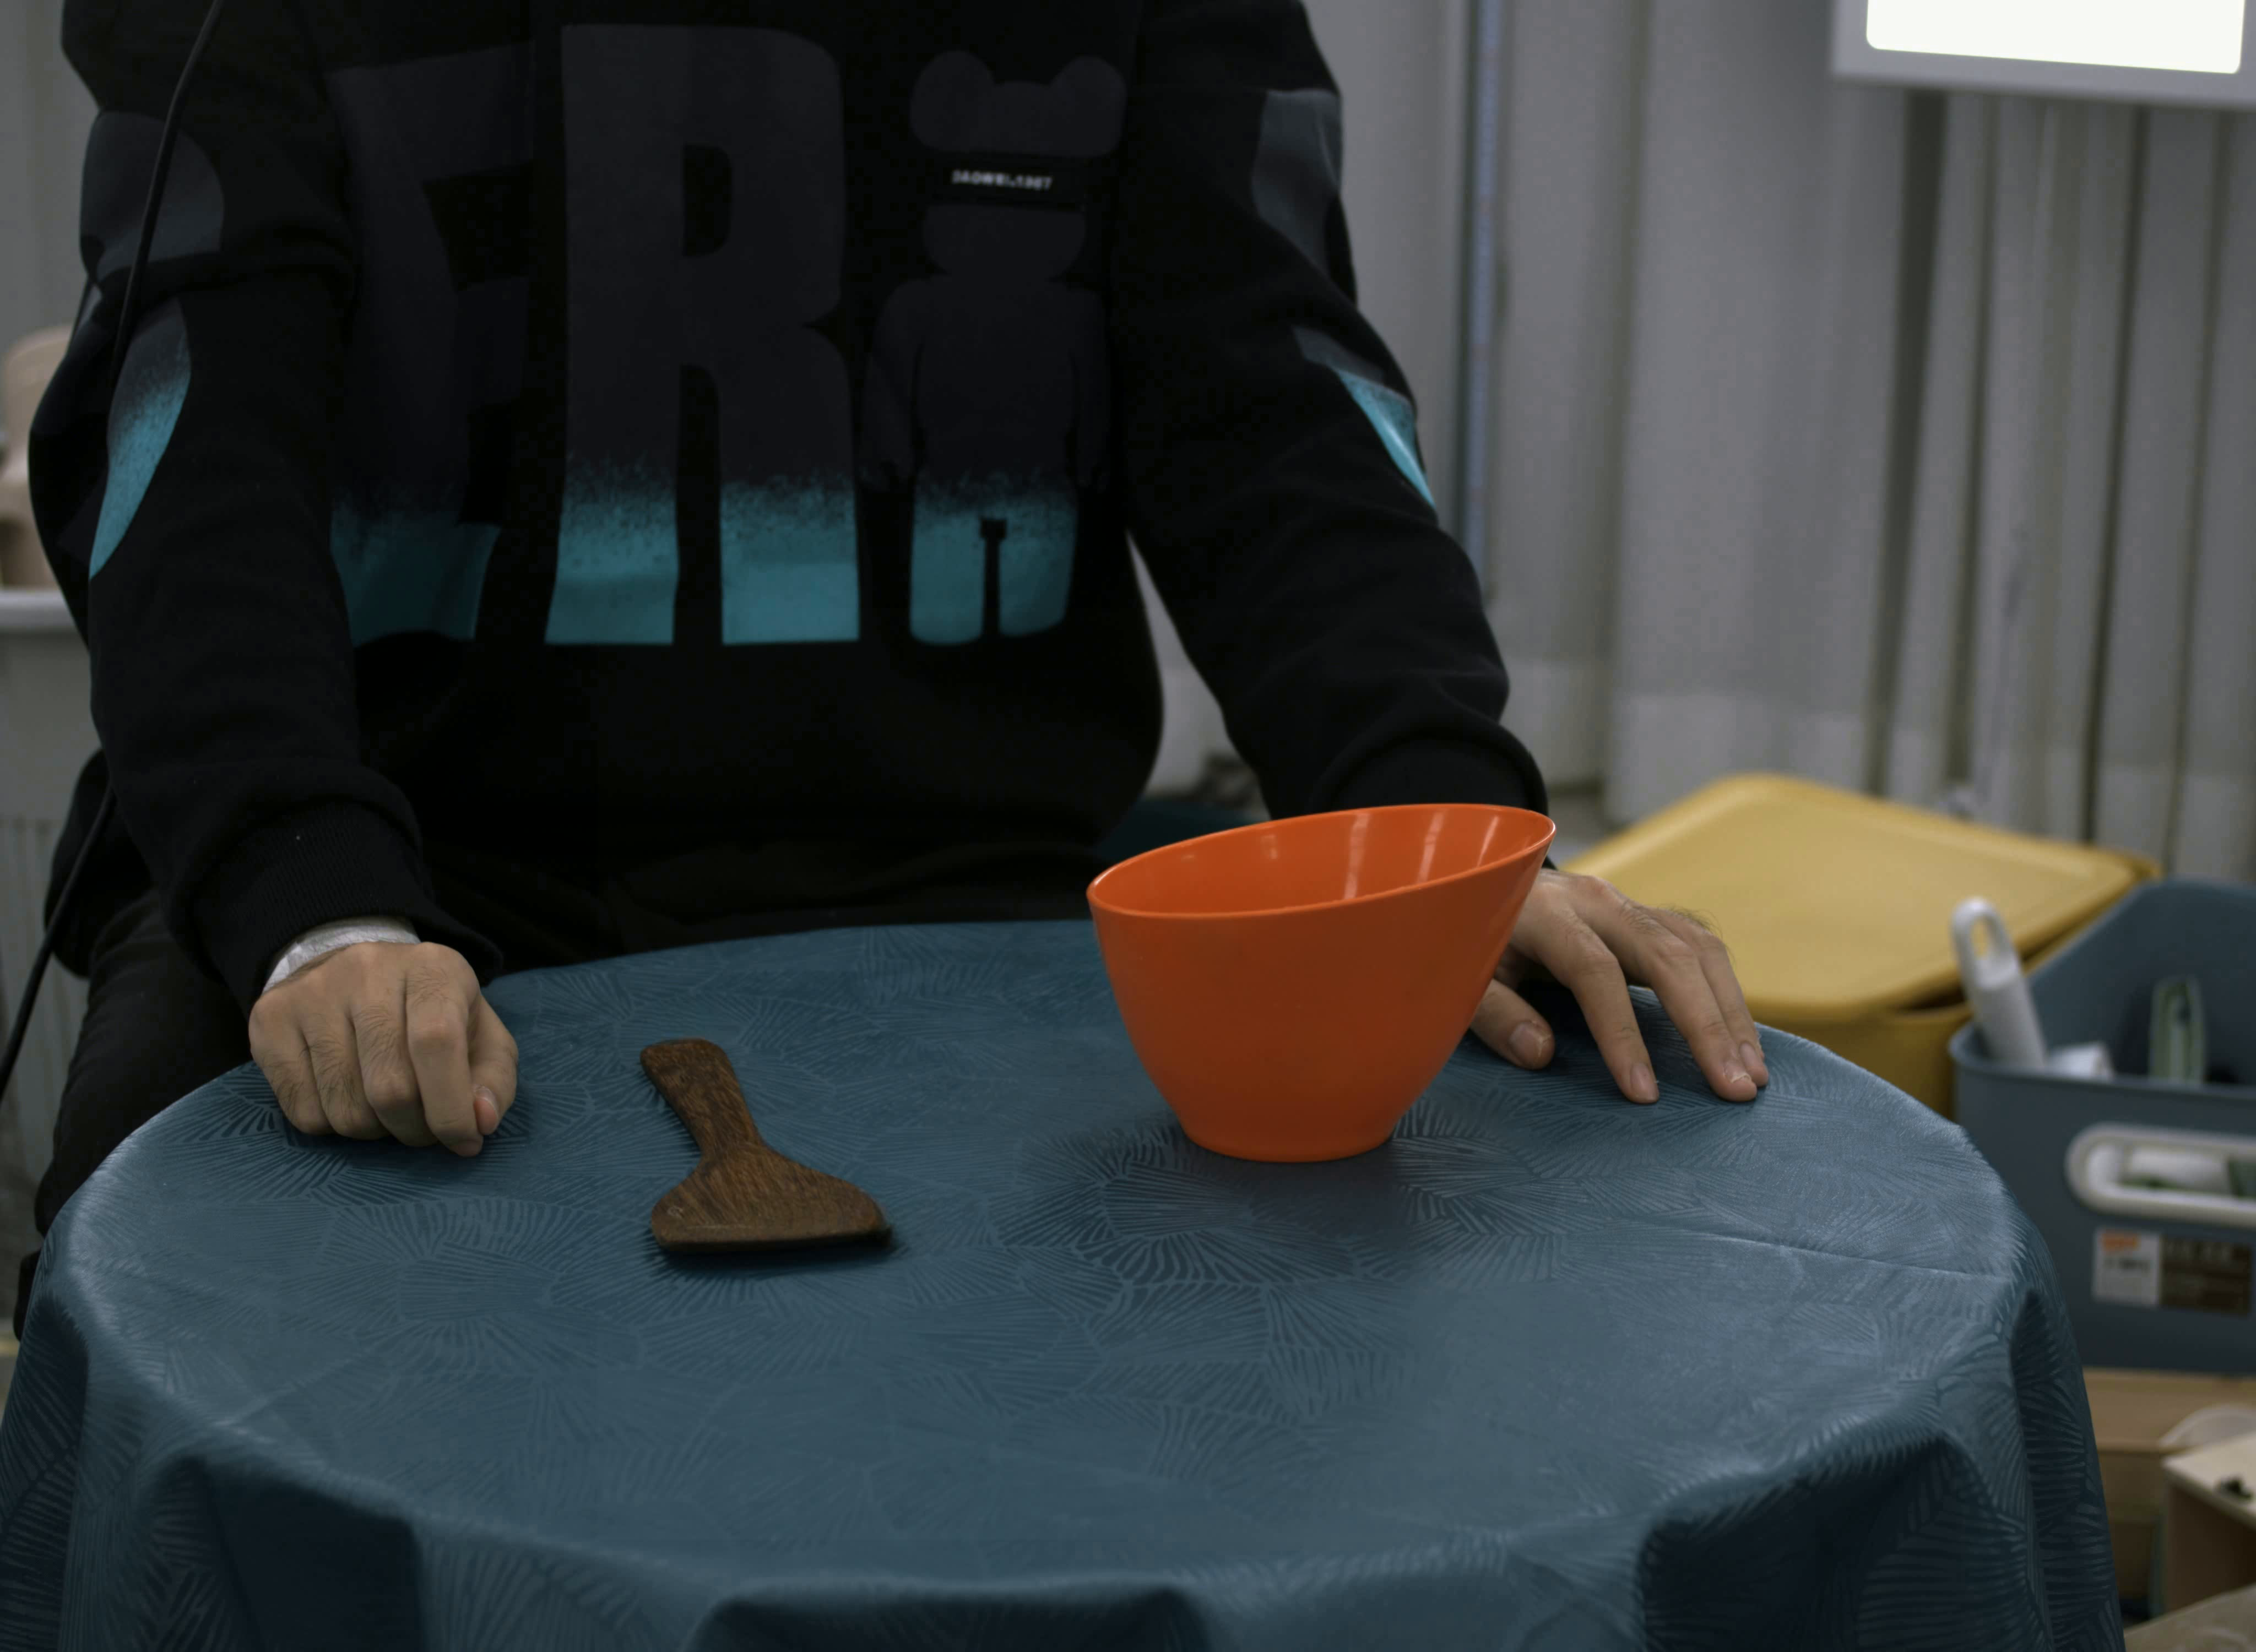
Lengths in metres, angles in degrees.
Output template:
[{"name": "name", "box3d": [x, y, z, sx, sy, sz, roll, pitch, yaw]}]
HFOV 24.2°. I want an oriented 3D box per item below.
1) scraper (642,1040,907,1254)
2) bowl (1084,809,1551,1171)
[{"name": "scraper", "box3d": [-0.124, 0.100, 1.652, 0.076, 0.011, 0.209, -2, 15, -13]}, {"name": "bowl", "box3d": [0.060, 0.051, 1.663, 0.147, 0.105, 0.147, -1, 16, 1]}]
